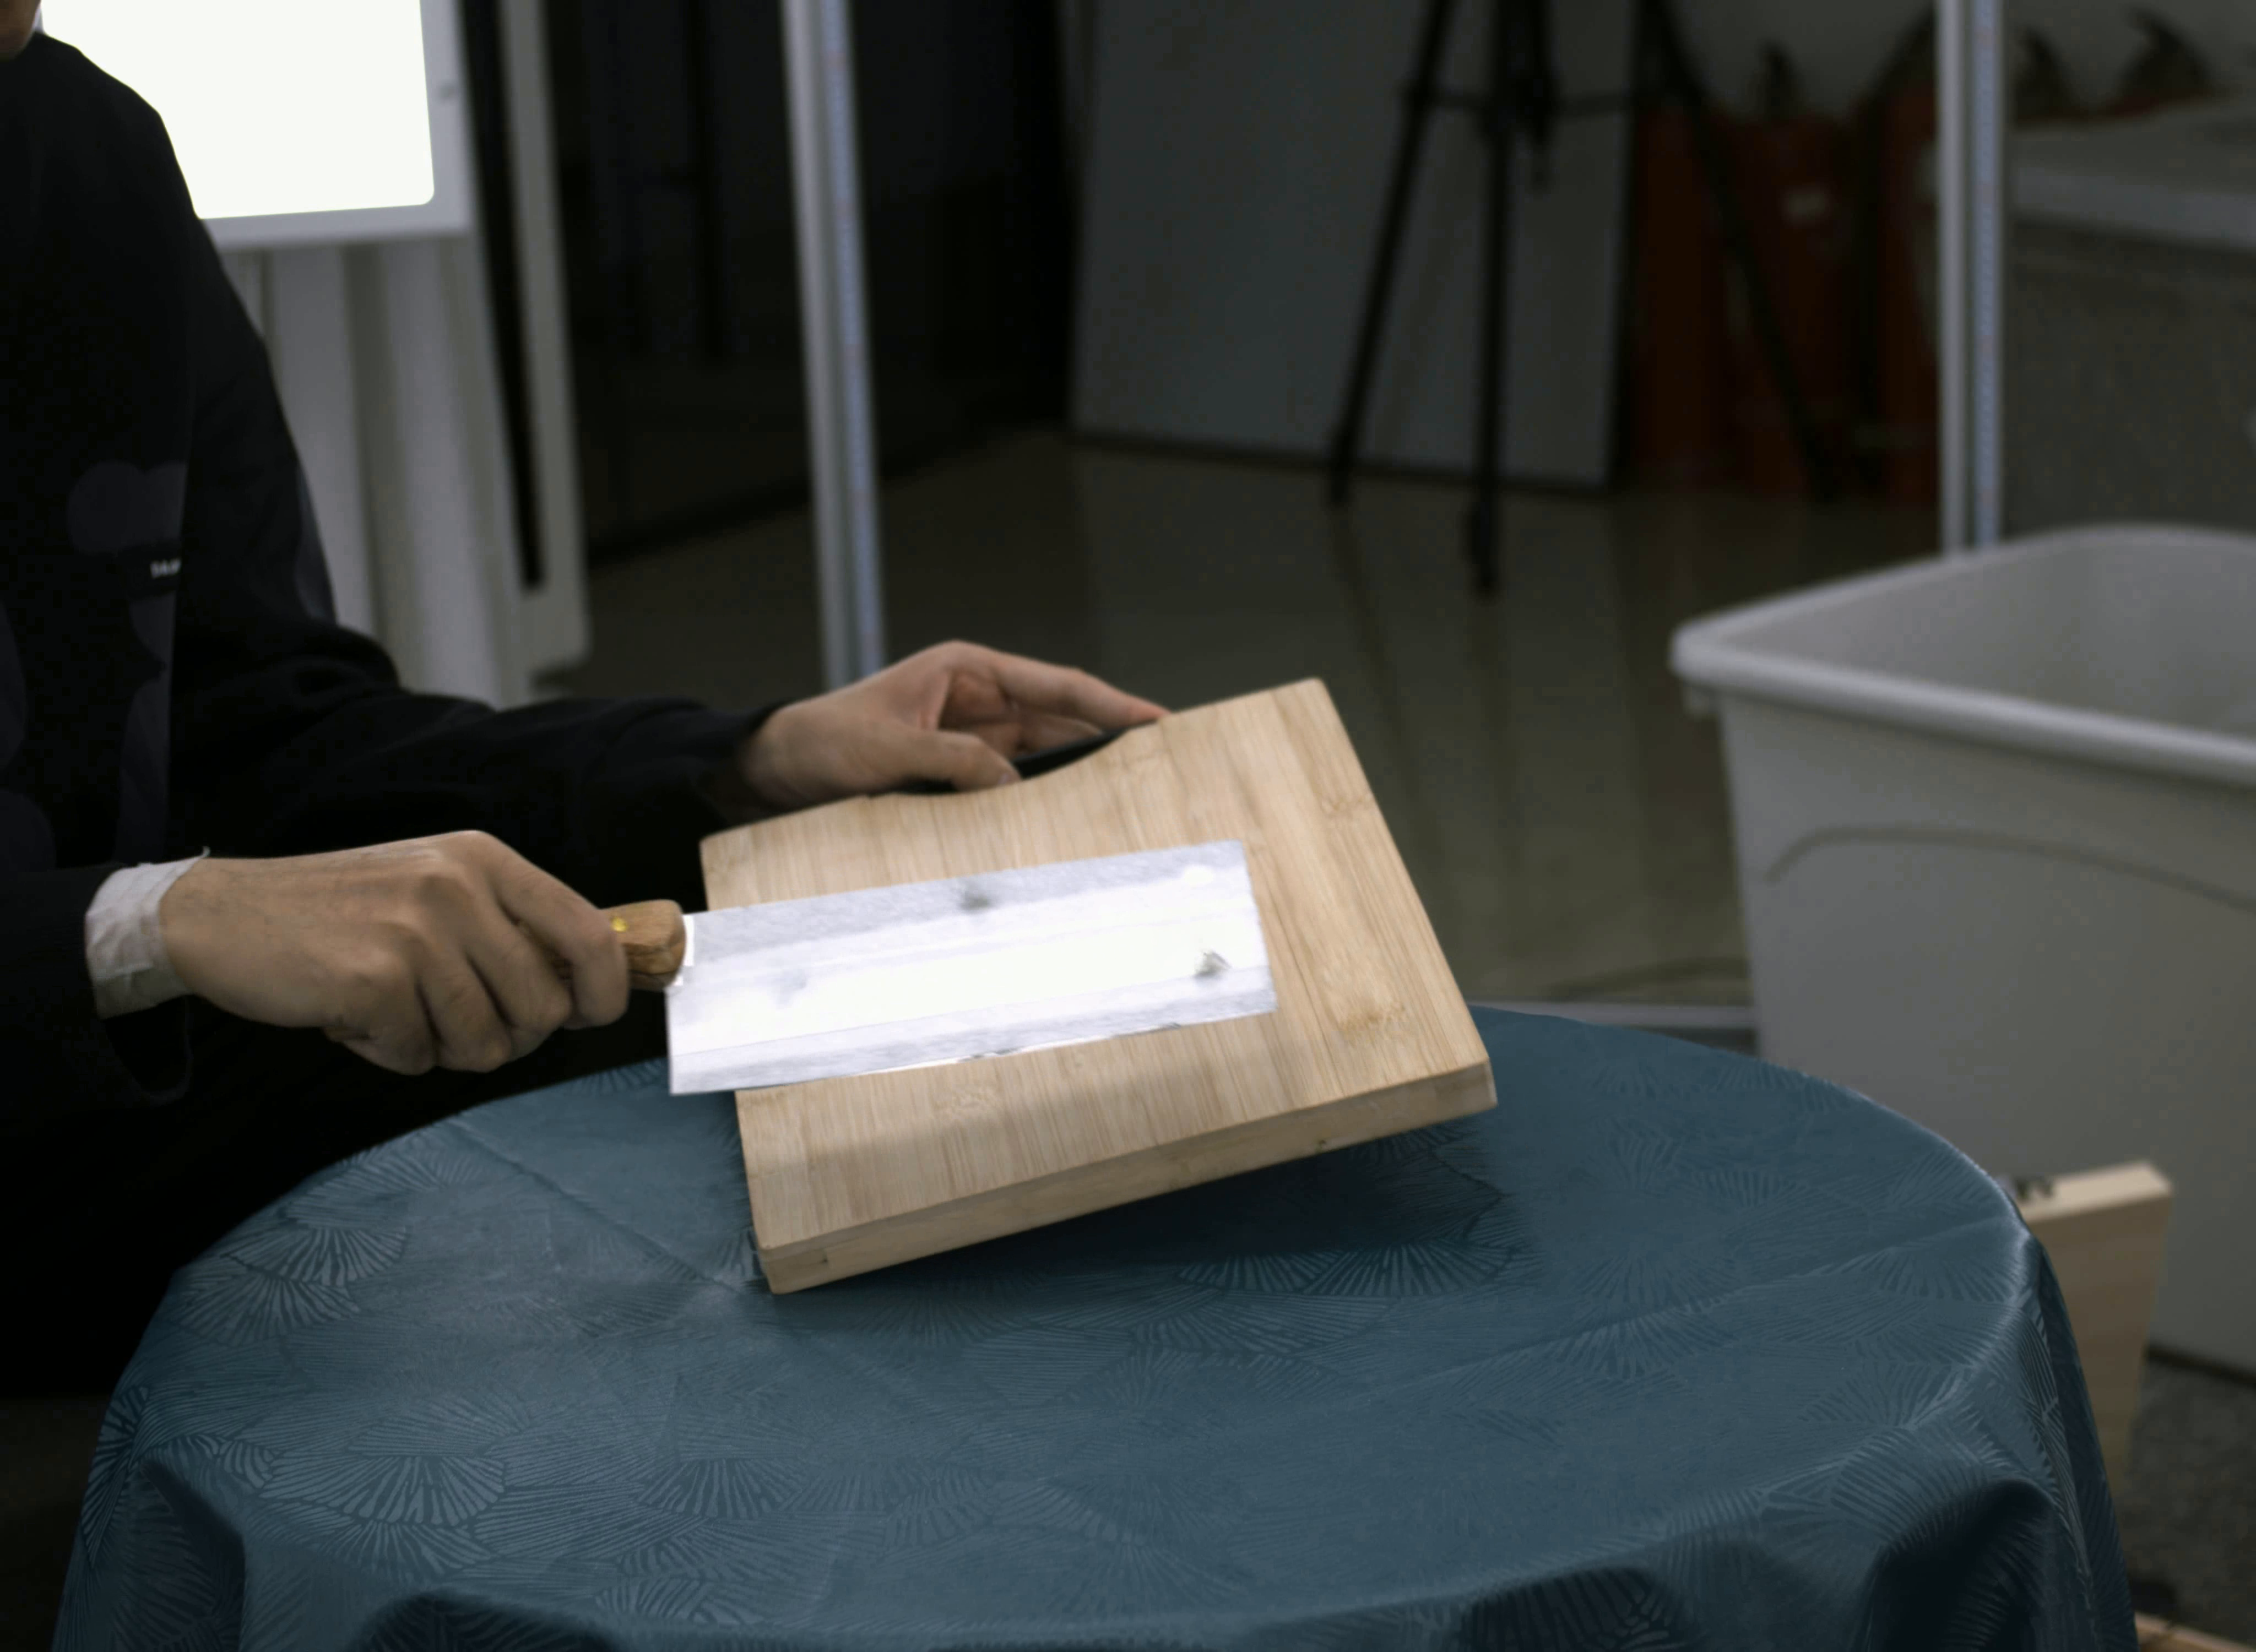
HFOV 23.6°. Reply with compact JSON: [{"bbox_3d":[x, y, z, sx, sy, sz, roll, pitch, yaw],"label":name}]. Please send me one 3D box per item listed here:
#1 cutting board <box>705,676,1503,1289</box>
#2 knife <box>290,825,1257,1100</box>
[{"bbox_3d":[-0.019,0.047,1.850,0.247,0.024,0.351,-15,23,-2],"label":"cutting board"},{"bbox_3d":[-0.111,0.049,1.679,0.302,0.021,0.093,-9,37,0],"label":"knife"}]
